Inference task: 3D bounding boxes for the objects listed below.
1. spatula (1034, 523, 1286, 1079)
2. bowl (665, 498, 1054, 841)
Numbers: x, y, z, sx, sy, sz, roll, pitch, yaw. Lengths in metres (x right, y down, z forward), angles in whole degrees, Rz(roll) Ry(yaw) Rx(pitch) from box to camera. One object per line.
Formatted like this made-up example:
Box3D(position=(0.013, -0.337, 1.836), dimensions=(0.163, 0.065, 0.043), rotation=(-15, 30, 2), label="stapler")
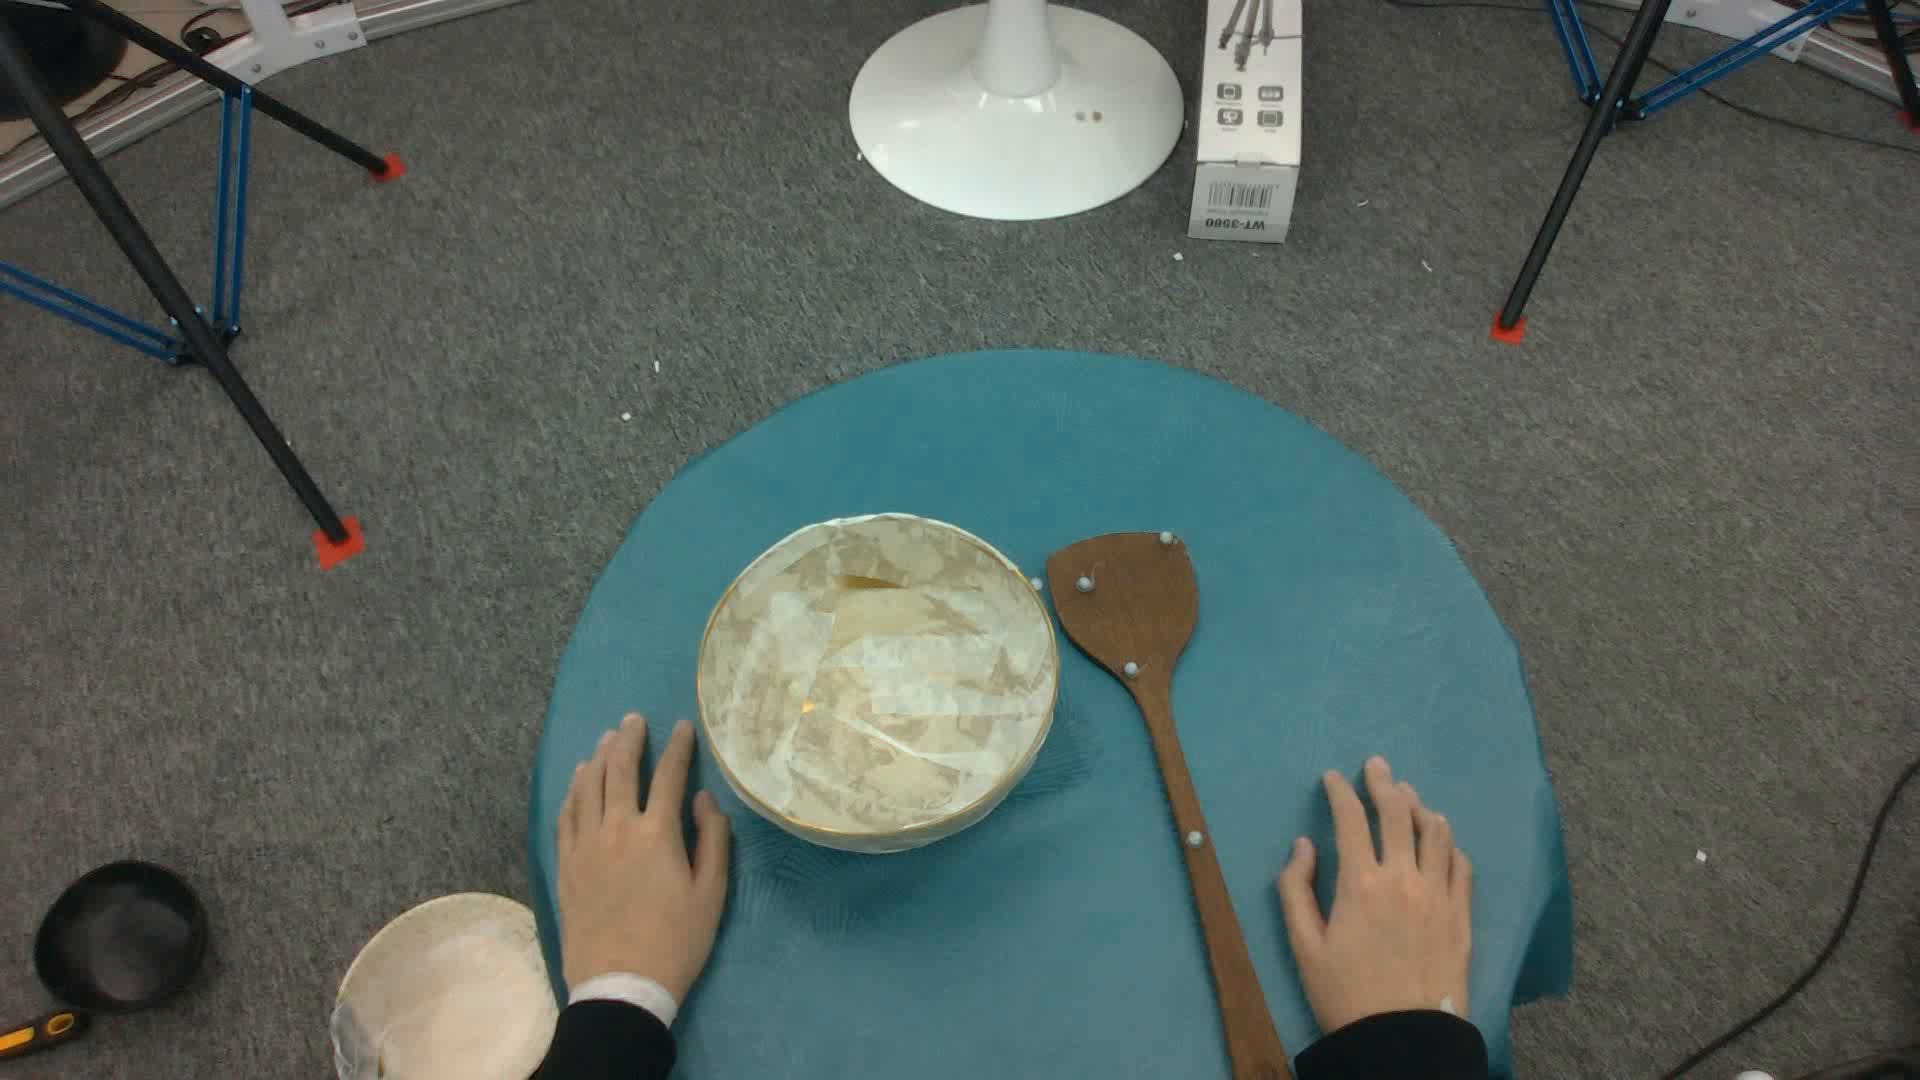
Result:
Box3D(position=(0.124, 0.149, 0.790), dimensions=(0.096, 0.016, 0.387), rotation=(-9, 56, -6), label="spatula")
Box3D(position=(-0.054, 0.087, 0.785), dimensions=(0.215, 0.094, 0.215), rotation=(1, 56, -1), label="bowl")
